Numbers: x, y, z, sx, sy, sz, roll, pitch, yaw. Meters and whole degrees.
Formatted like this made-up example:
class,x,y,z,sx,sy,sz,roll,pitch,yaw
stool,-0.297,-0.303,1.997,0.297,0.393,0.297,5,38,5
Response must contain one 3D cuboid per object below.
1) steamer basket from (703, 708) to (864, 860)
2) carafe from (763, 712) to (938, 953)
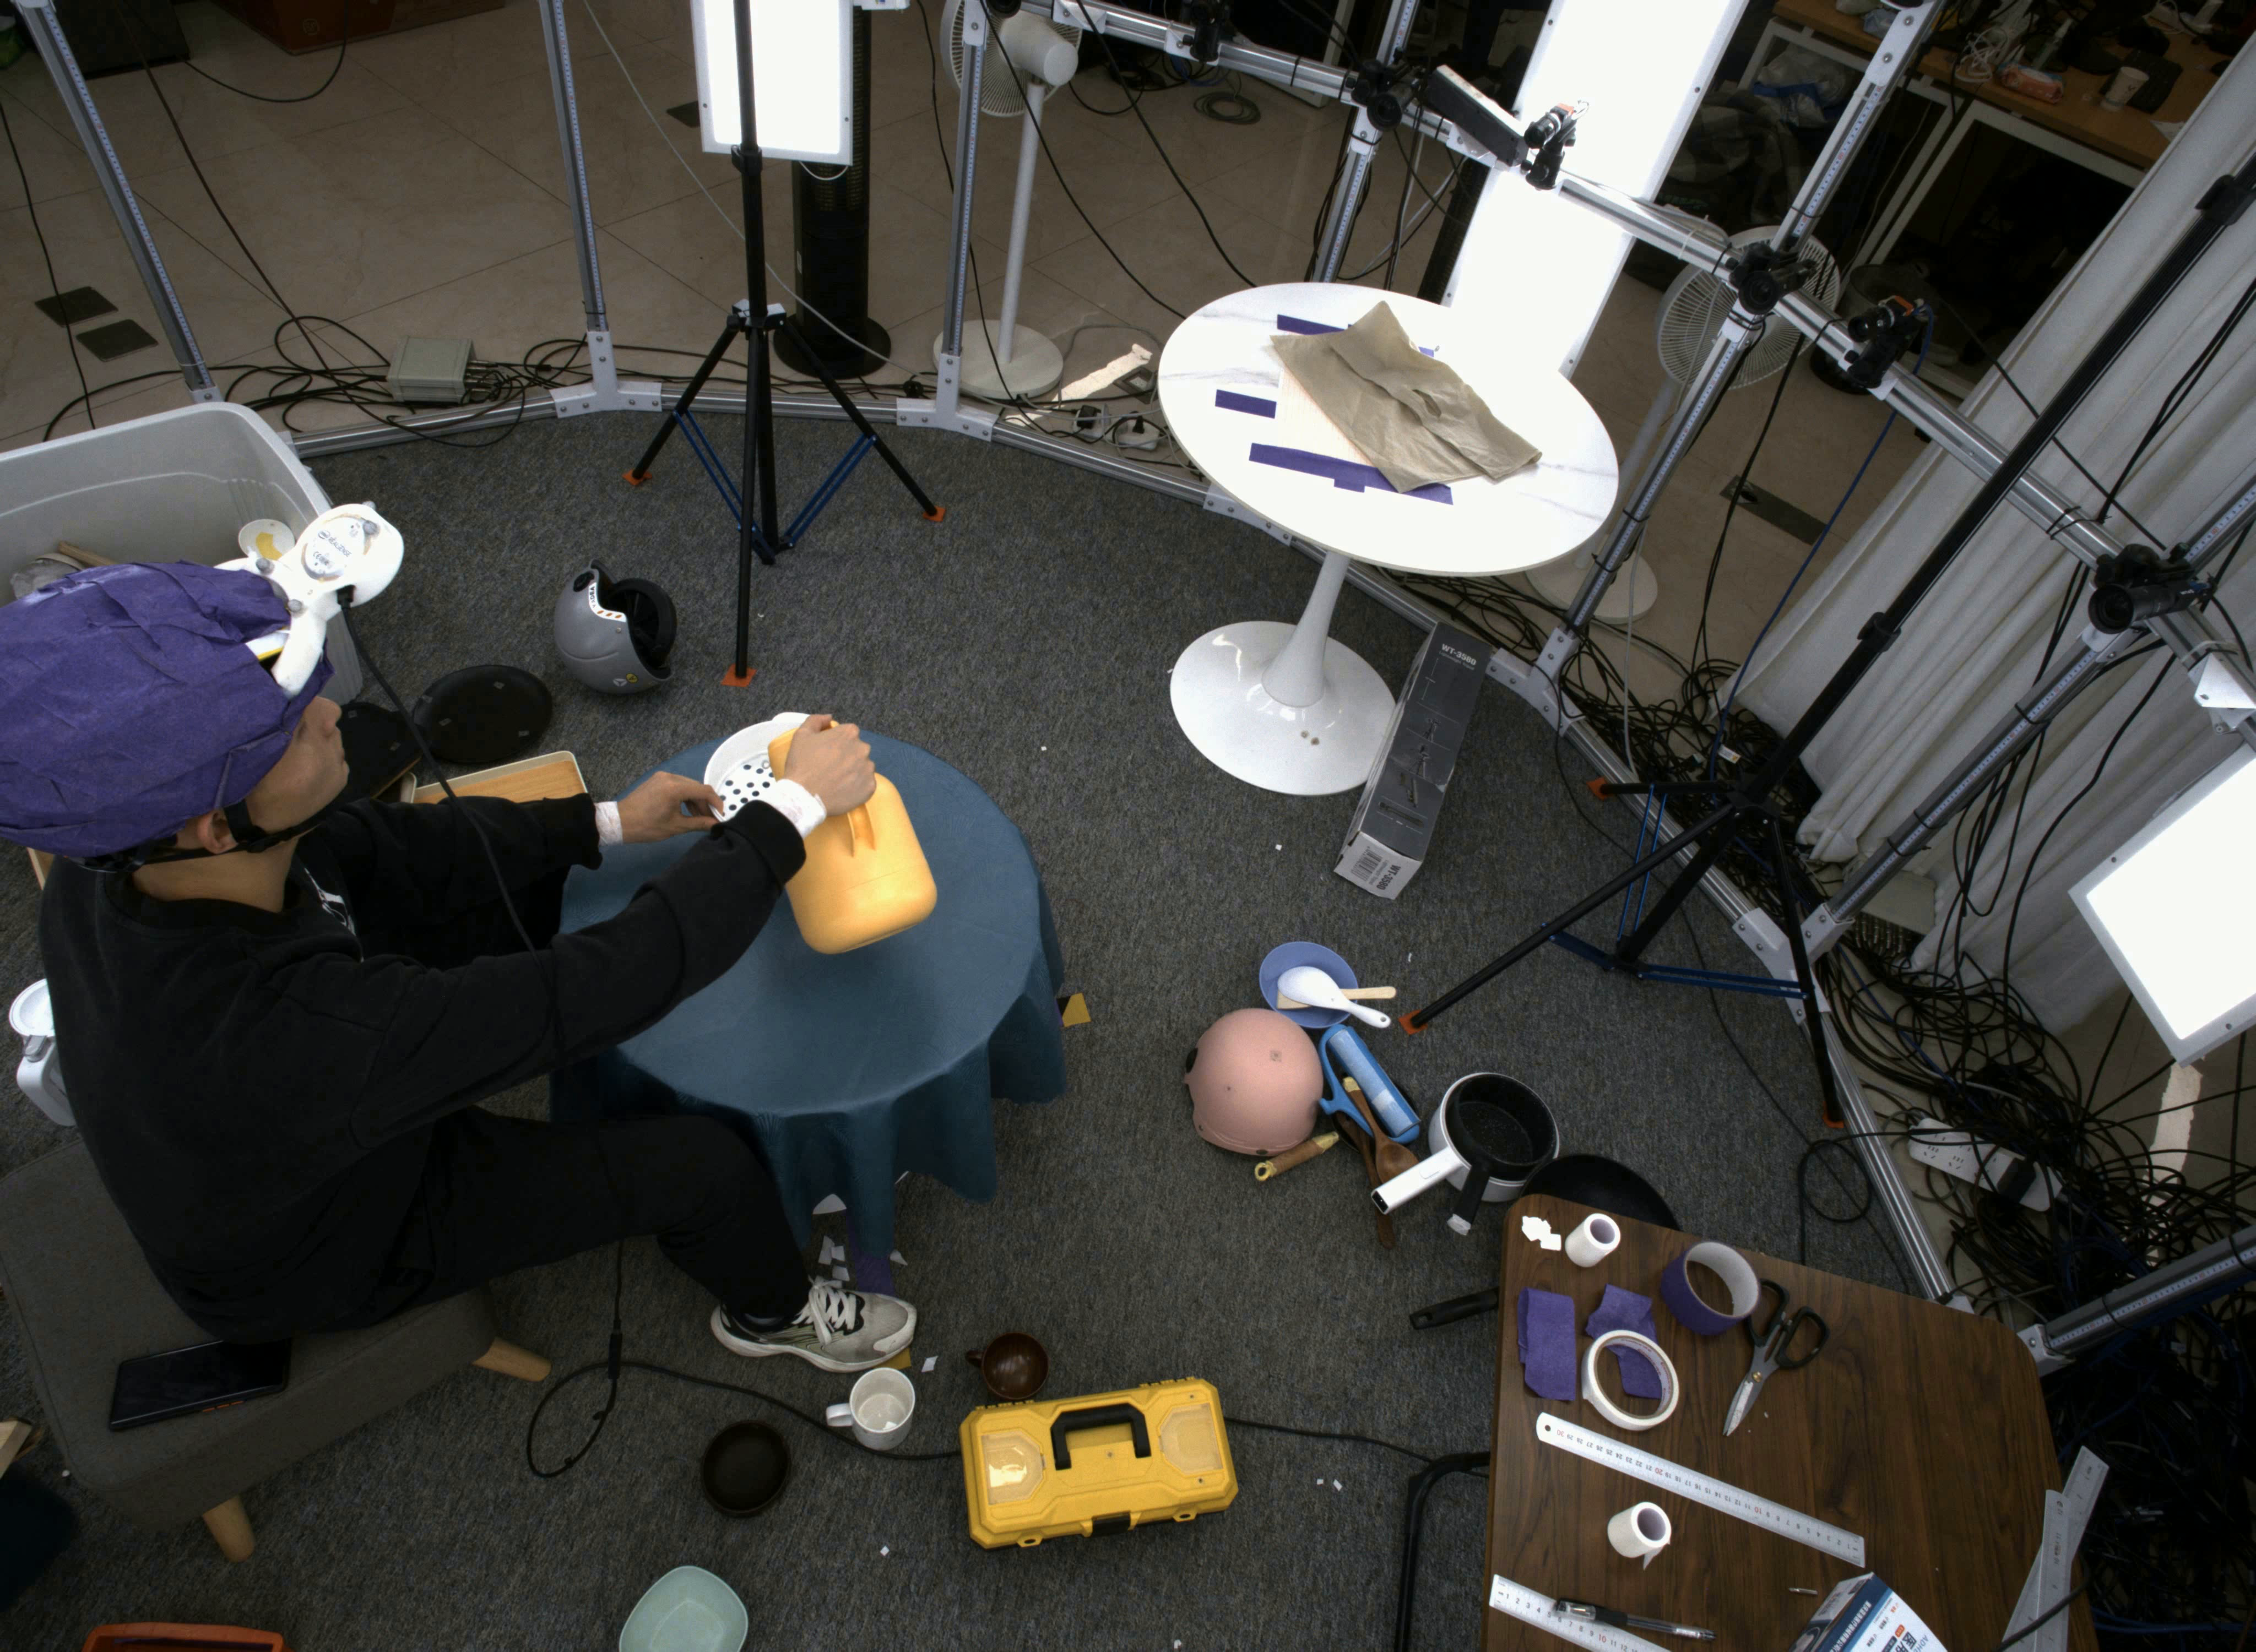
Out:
class,x,y,z,sx,sy,sz,roll,pitch,yaw
steamer basket,-0.441,-0.049,1.668,0.201,0.070,0.226,8,51,-9
carafe,-0.328,0.001,1.480,0.164,0.200,0.262,-23,89,-22
